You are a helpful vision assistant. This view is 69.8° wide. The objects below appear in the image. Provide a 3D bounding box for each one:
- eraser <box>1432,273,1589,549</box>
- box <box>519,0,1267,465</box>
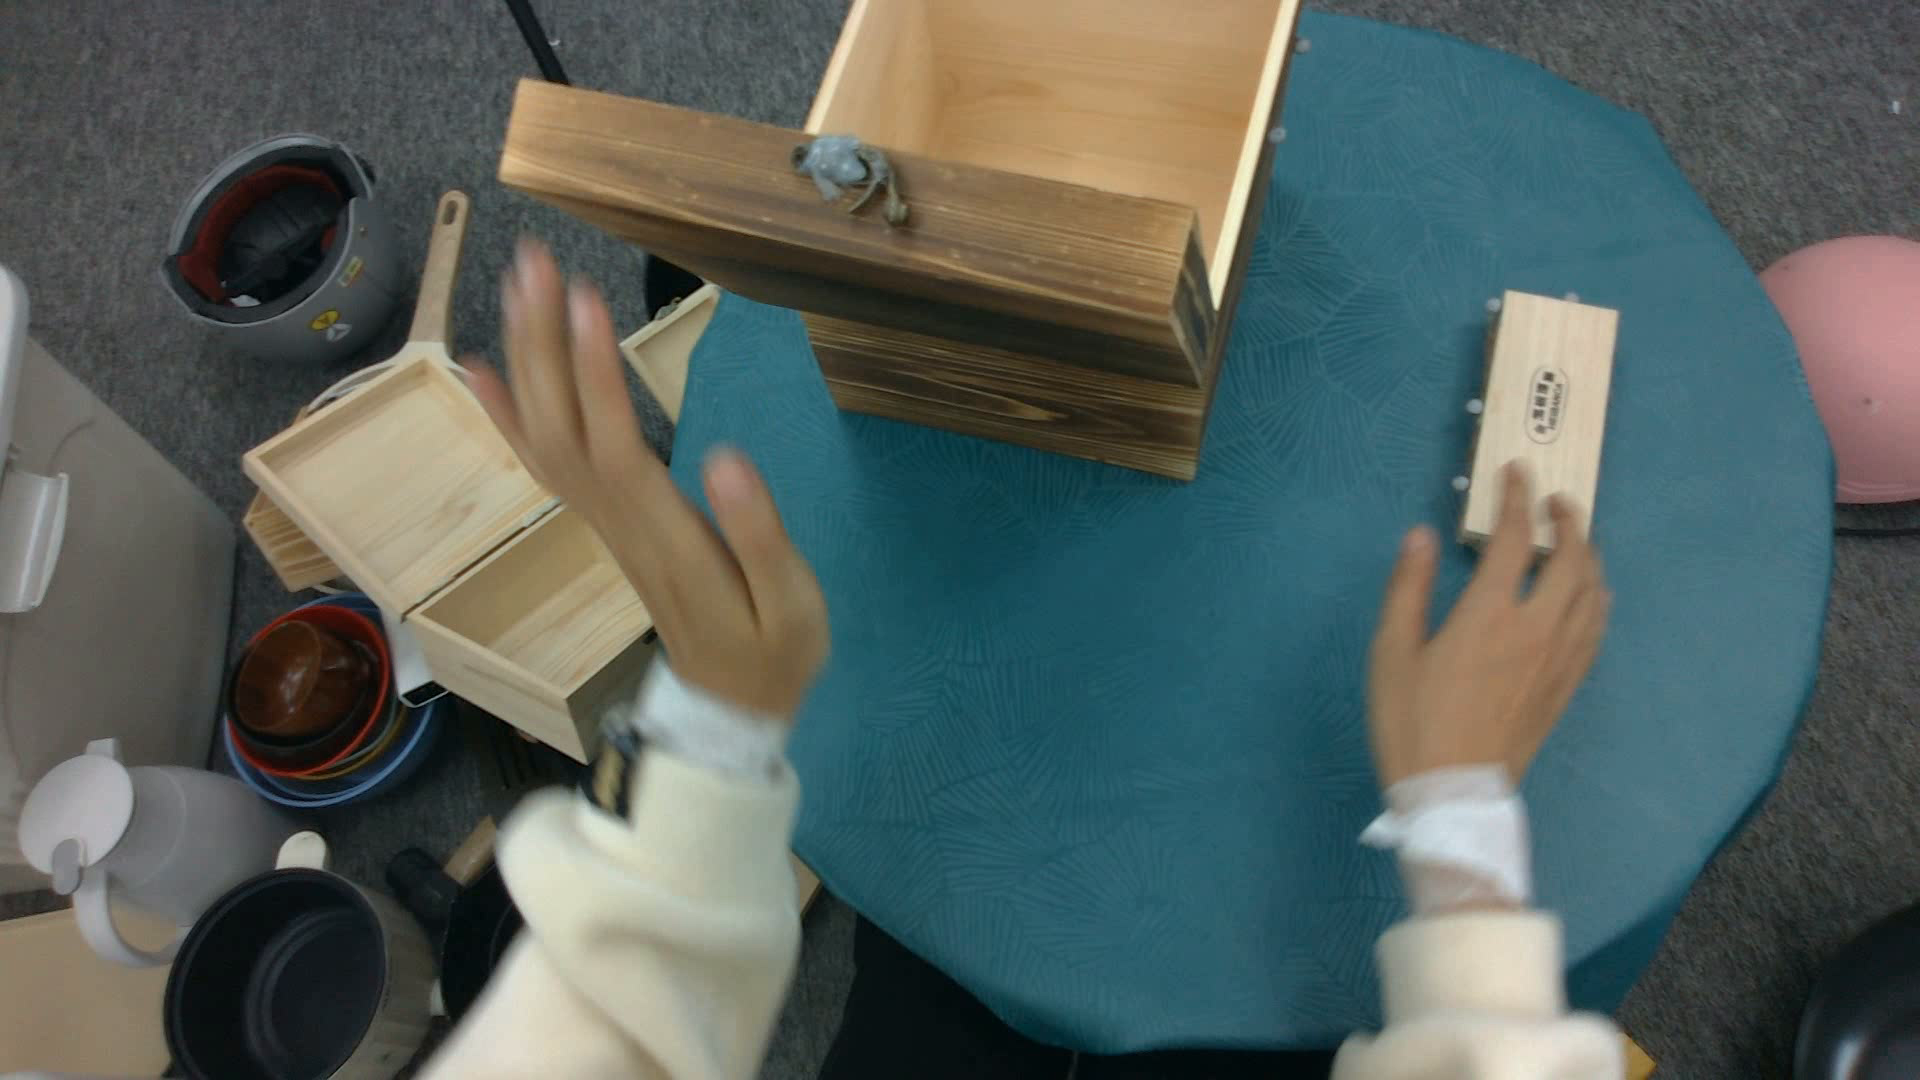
[{"bbox_3d":[0.279,-0.066,0.701,0.057,0.029,0.140,14,70,8],"label":"eraser"},{"bbox_3d":[0.015,-0.172,0.590,0.208,0.374,0.323,12,69,9],"label":"box"}]
